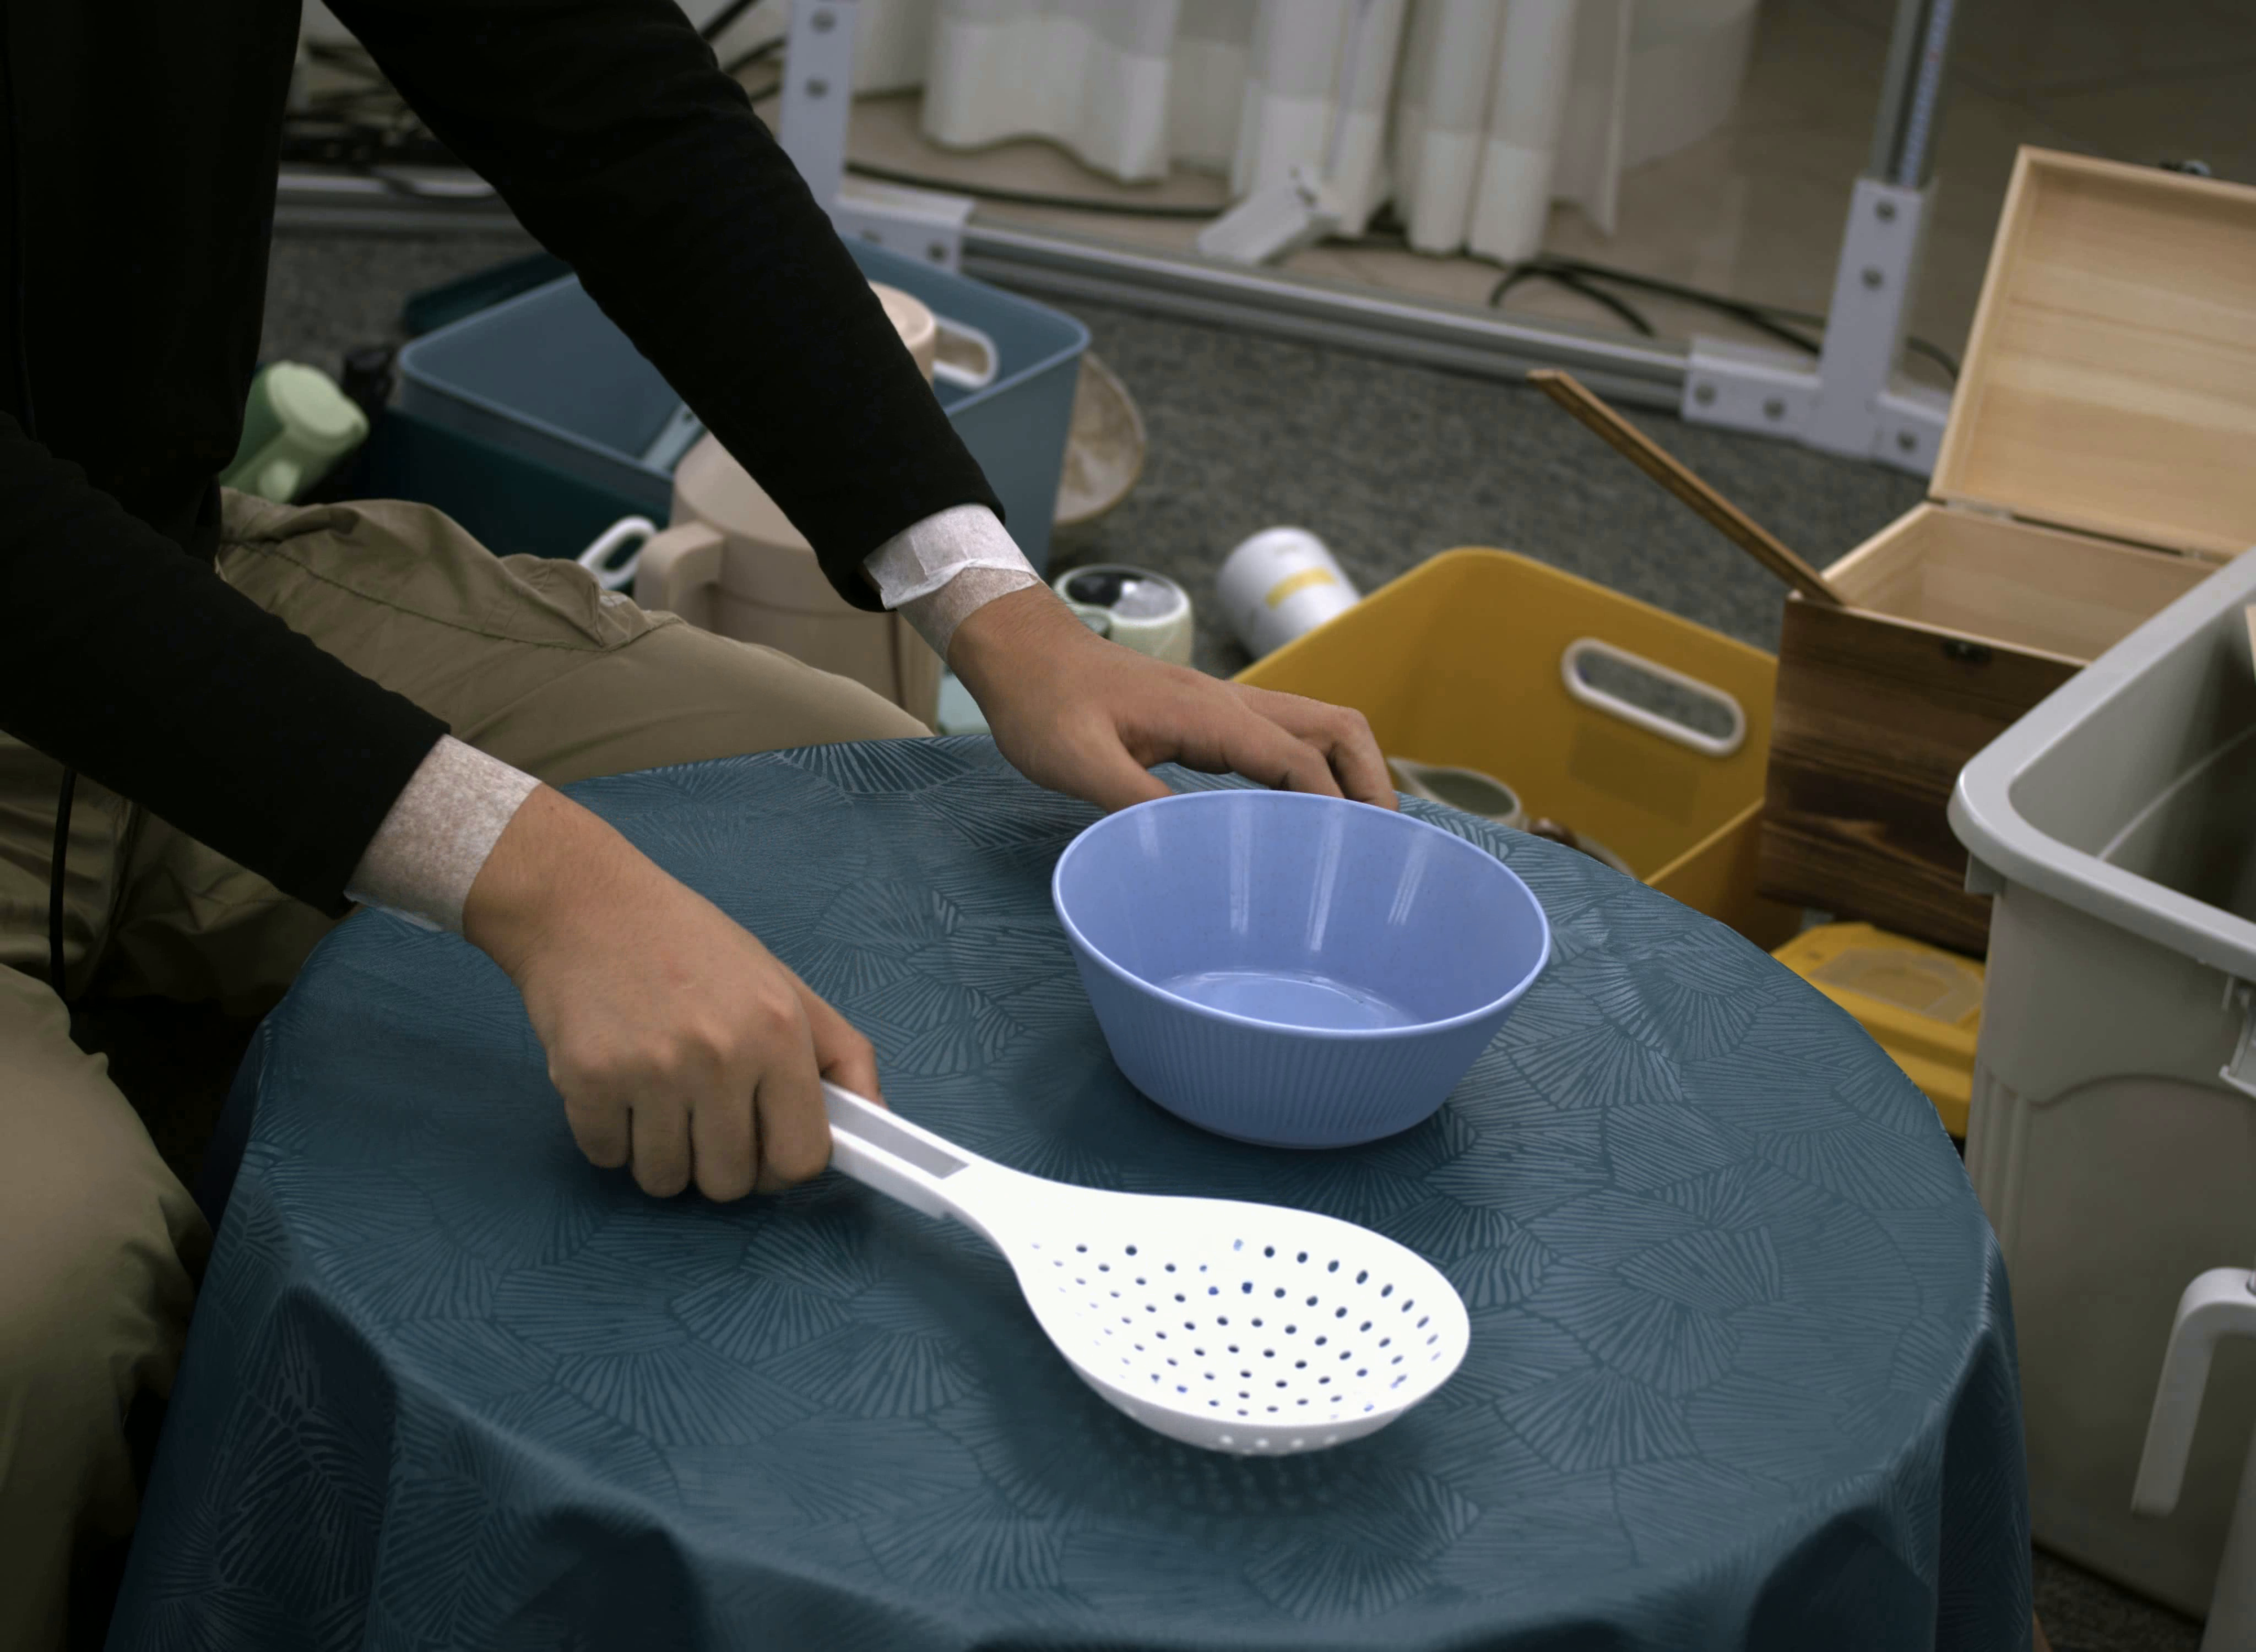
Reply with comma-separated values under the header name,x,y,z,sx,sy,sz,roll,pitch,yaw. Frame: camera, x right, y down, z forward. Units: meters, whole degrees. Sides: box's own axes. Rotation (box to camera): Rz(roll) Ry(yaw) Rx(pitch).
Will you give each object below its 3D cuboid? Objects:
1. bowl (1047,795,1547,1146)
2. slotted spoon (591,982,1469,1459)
name,x,y,z,sx,sy,sz,roll,pitch,yaw
bowl,0.056,0.056,1.871,0.175,0.070,0.177,4,26,-2
slotted spoon,-0.044,0.122,1.729,0.352,0.045,0.135,28,35,31
